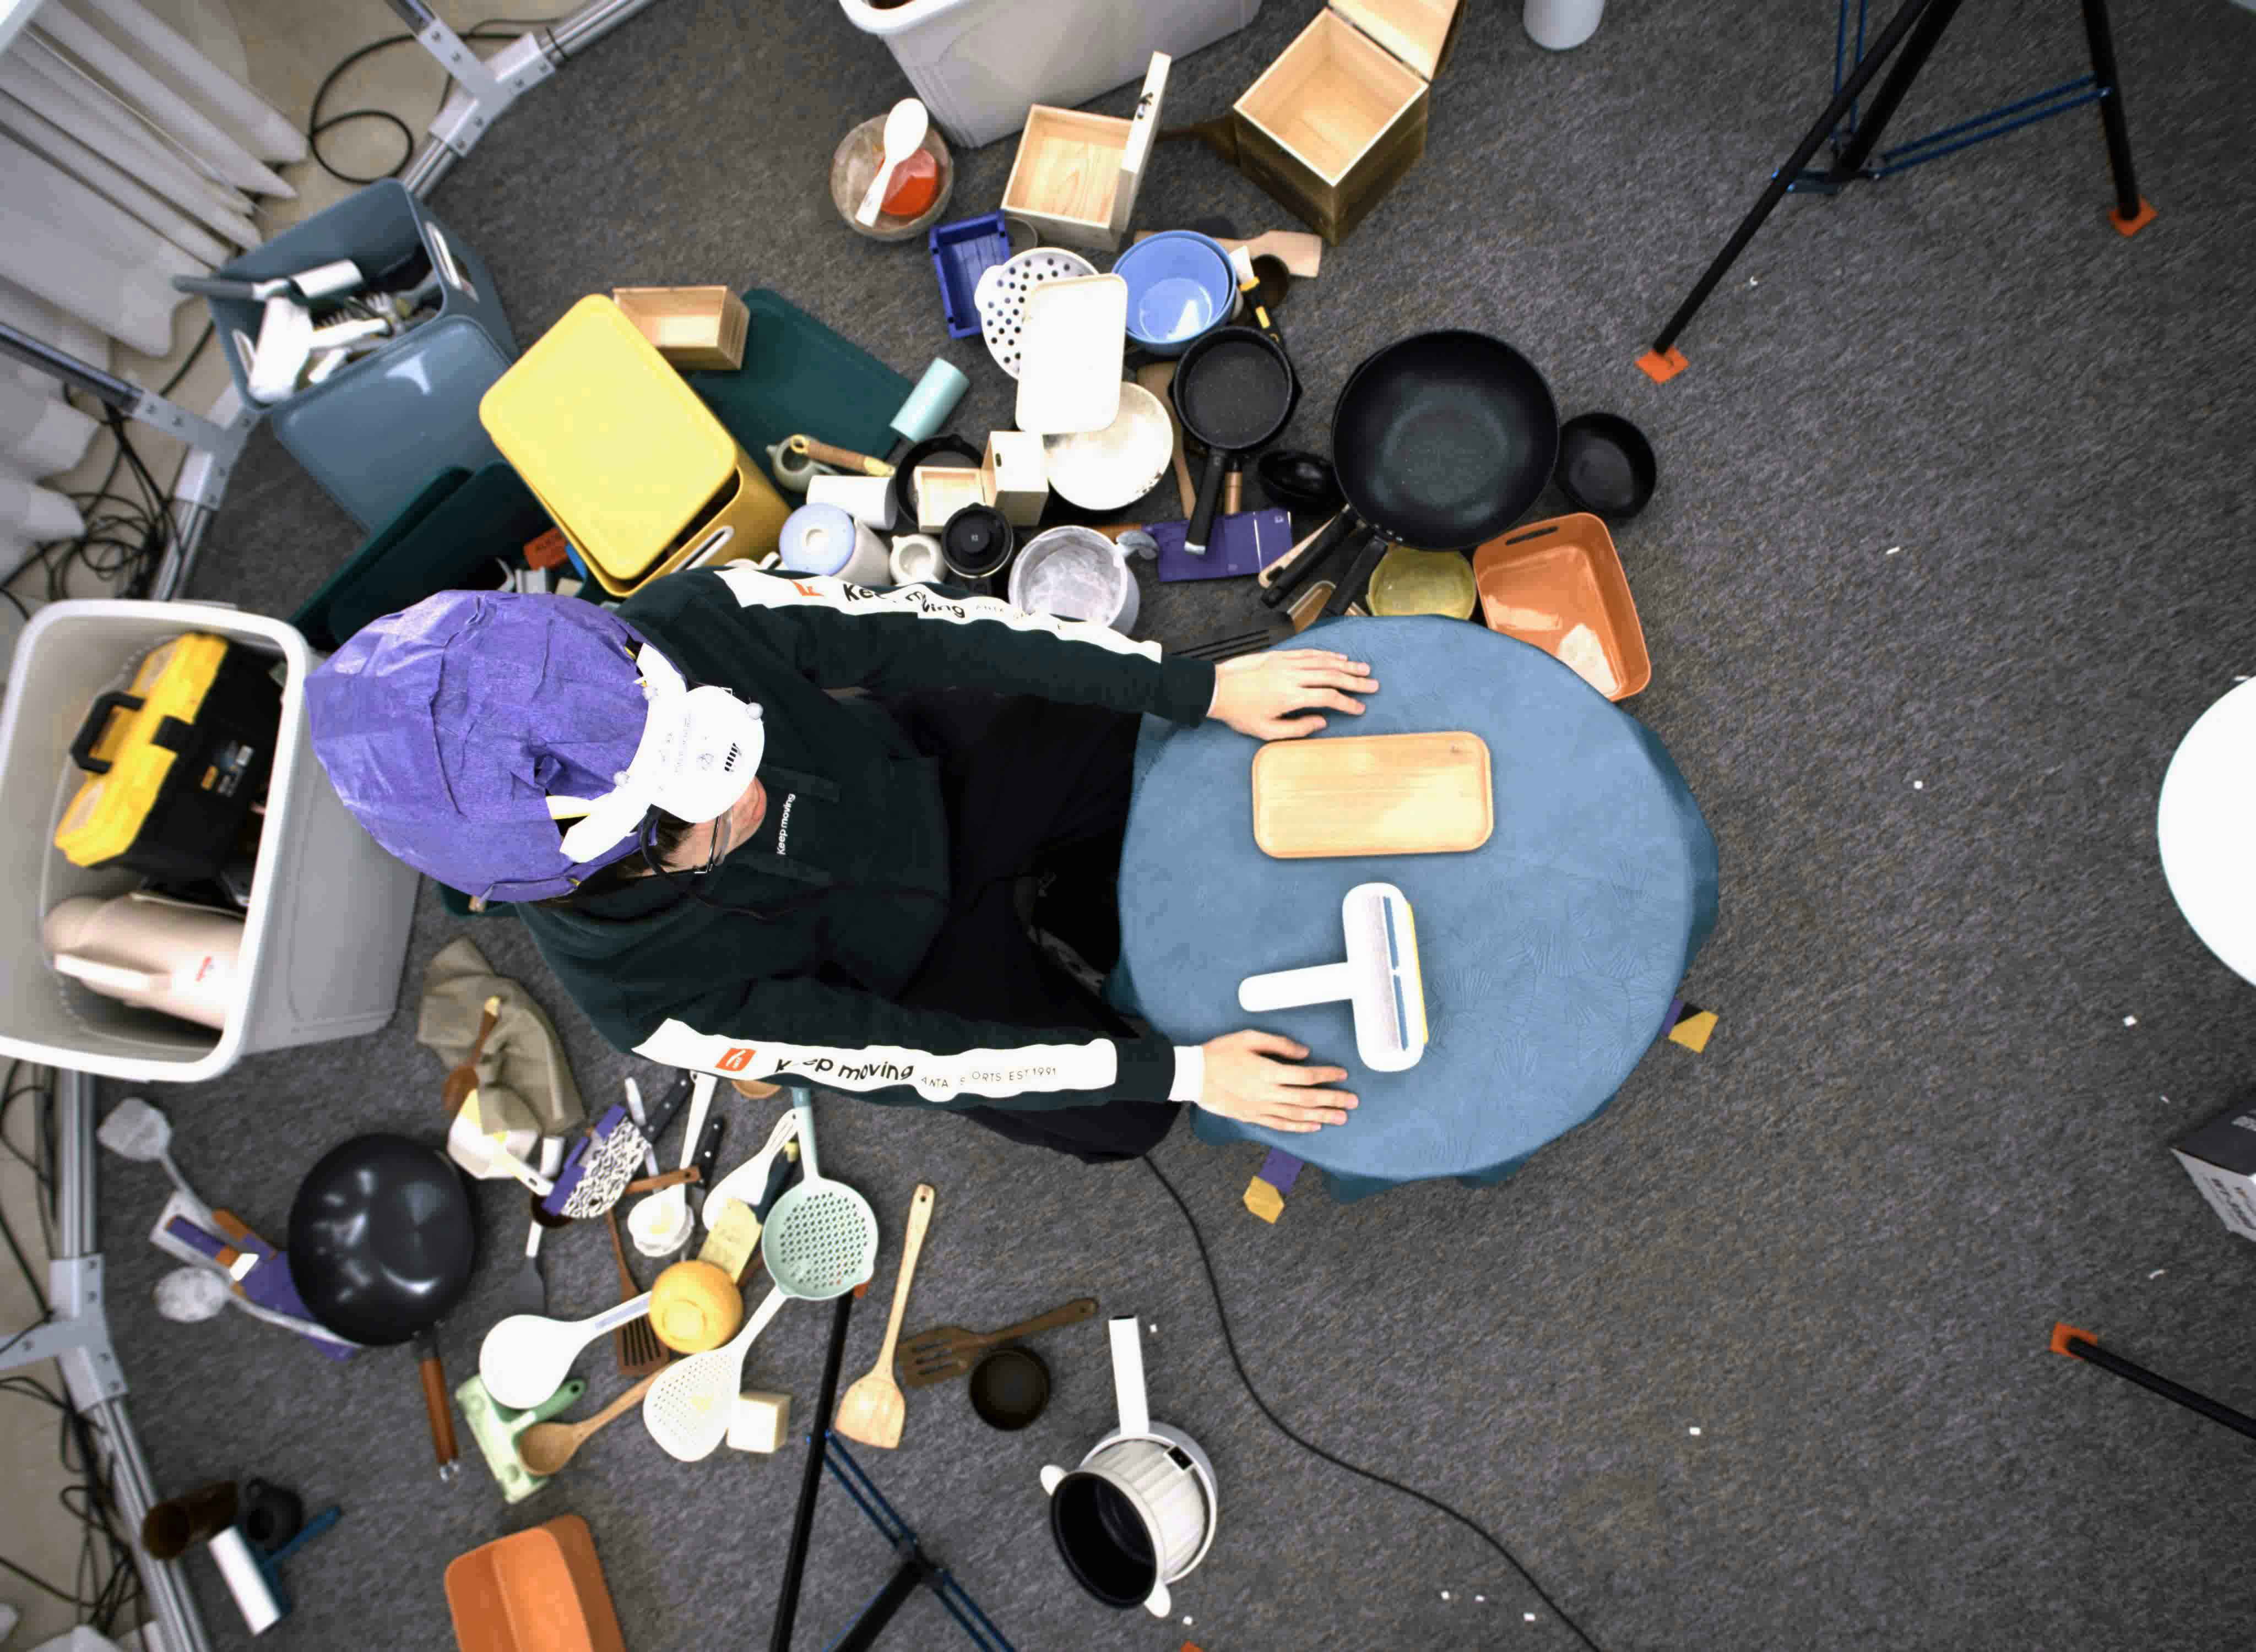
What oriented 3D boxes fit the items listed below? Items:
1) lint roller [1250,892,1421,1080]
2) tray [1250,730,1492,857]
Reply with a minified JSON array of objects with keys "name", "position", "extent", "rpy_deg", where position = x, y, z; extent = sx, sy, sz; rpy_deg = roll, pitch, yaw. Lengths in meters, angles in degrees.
[{"name":"lint roller","position":[0.212,0.168,1.446],"extent":[0.194,0.074,0.191],"rpy_deg":[-5,78,25]},{"name":"tray","position":[0.256,-0.034,1.455],"extent":[0.252,0.023,0.130],"rpy_deg":[-2,85,11]}]
